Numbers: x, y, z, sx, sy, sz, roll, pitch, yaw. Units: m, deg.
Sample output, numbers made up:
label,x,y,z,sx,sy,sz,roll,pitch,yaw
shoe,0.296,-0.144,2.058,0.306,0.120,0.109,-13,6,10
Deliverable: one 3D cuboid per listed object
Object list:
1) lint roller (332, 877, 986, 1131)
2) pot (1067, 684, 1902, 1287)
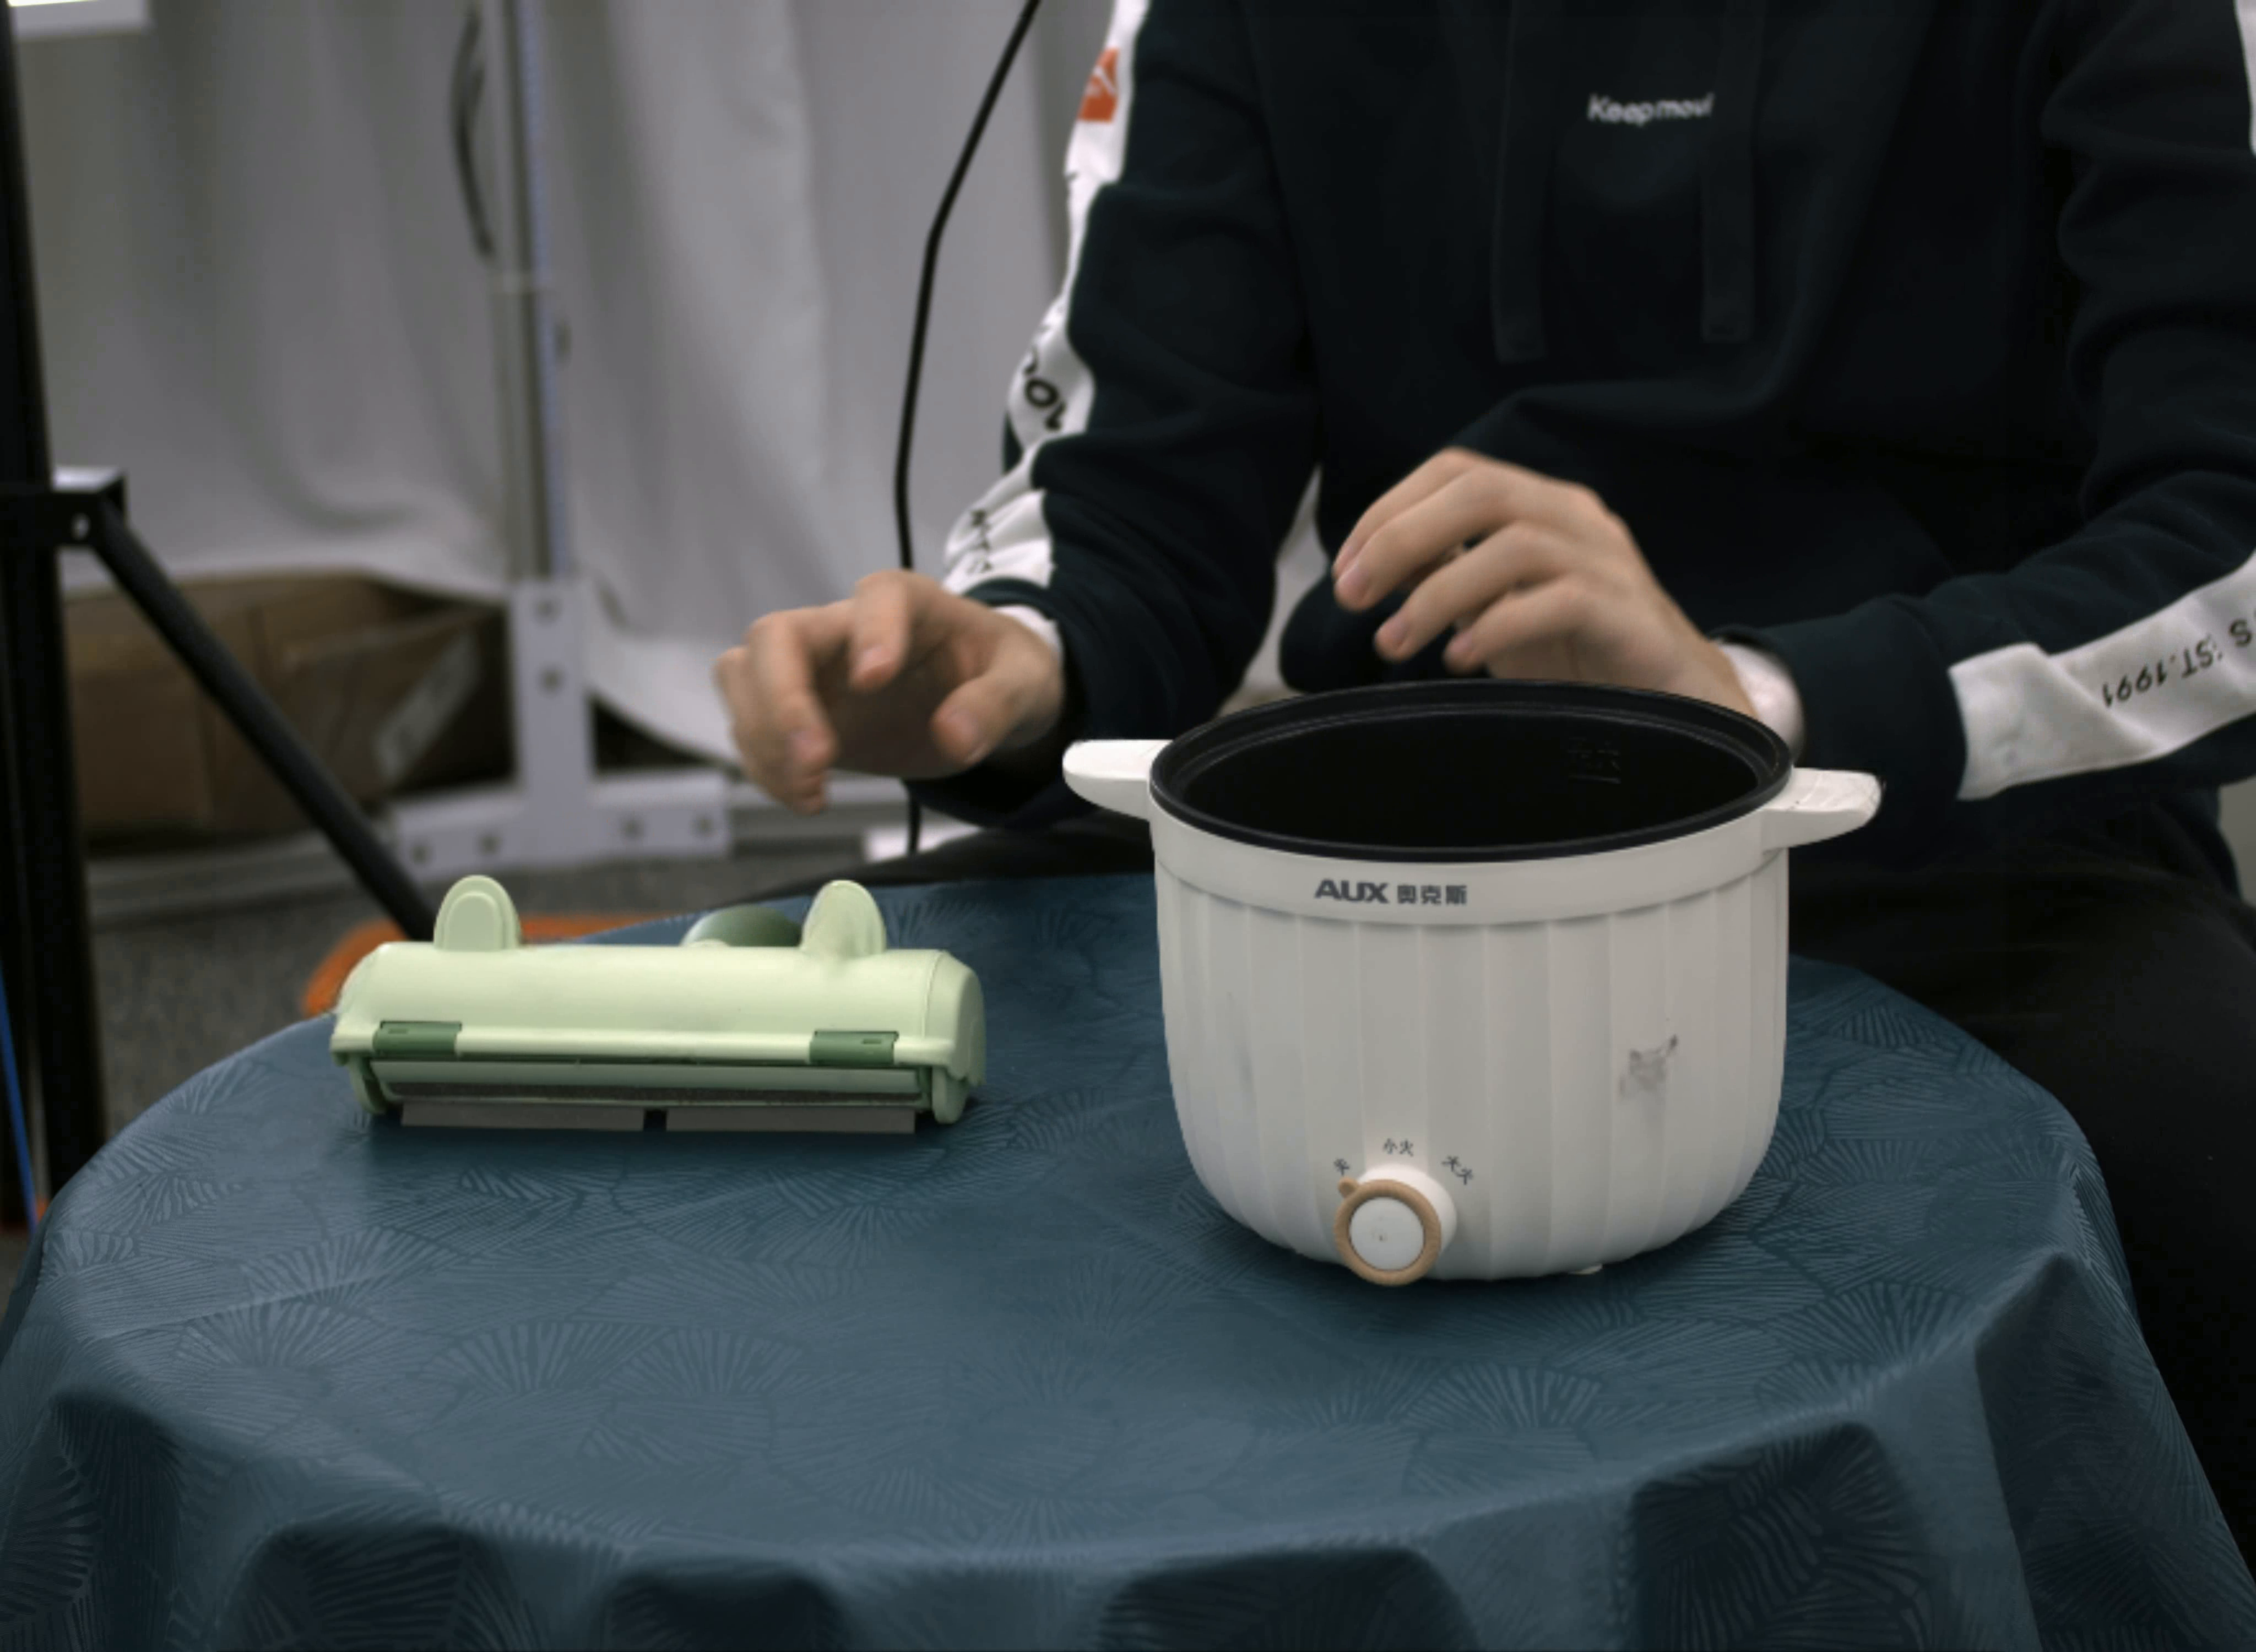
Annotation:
label,x,y,z,sx,sy,sz,roll,pitch,yaw
lint roller,-0.135,0.038,1.691,0.199,0.082,0.183,0,21,11
pot,0.099,0.048,1.502,0.243,0.143,0.188,2,13,19
